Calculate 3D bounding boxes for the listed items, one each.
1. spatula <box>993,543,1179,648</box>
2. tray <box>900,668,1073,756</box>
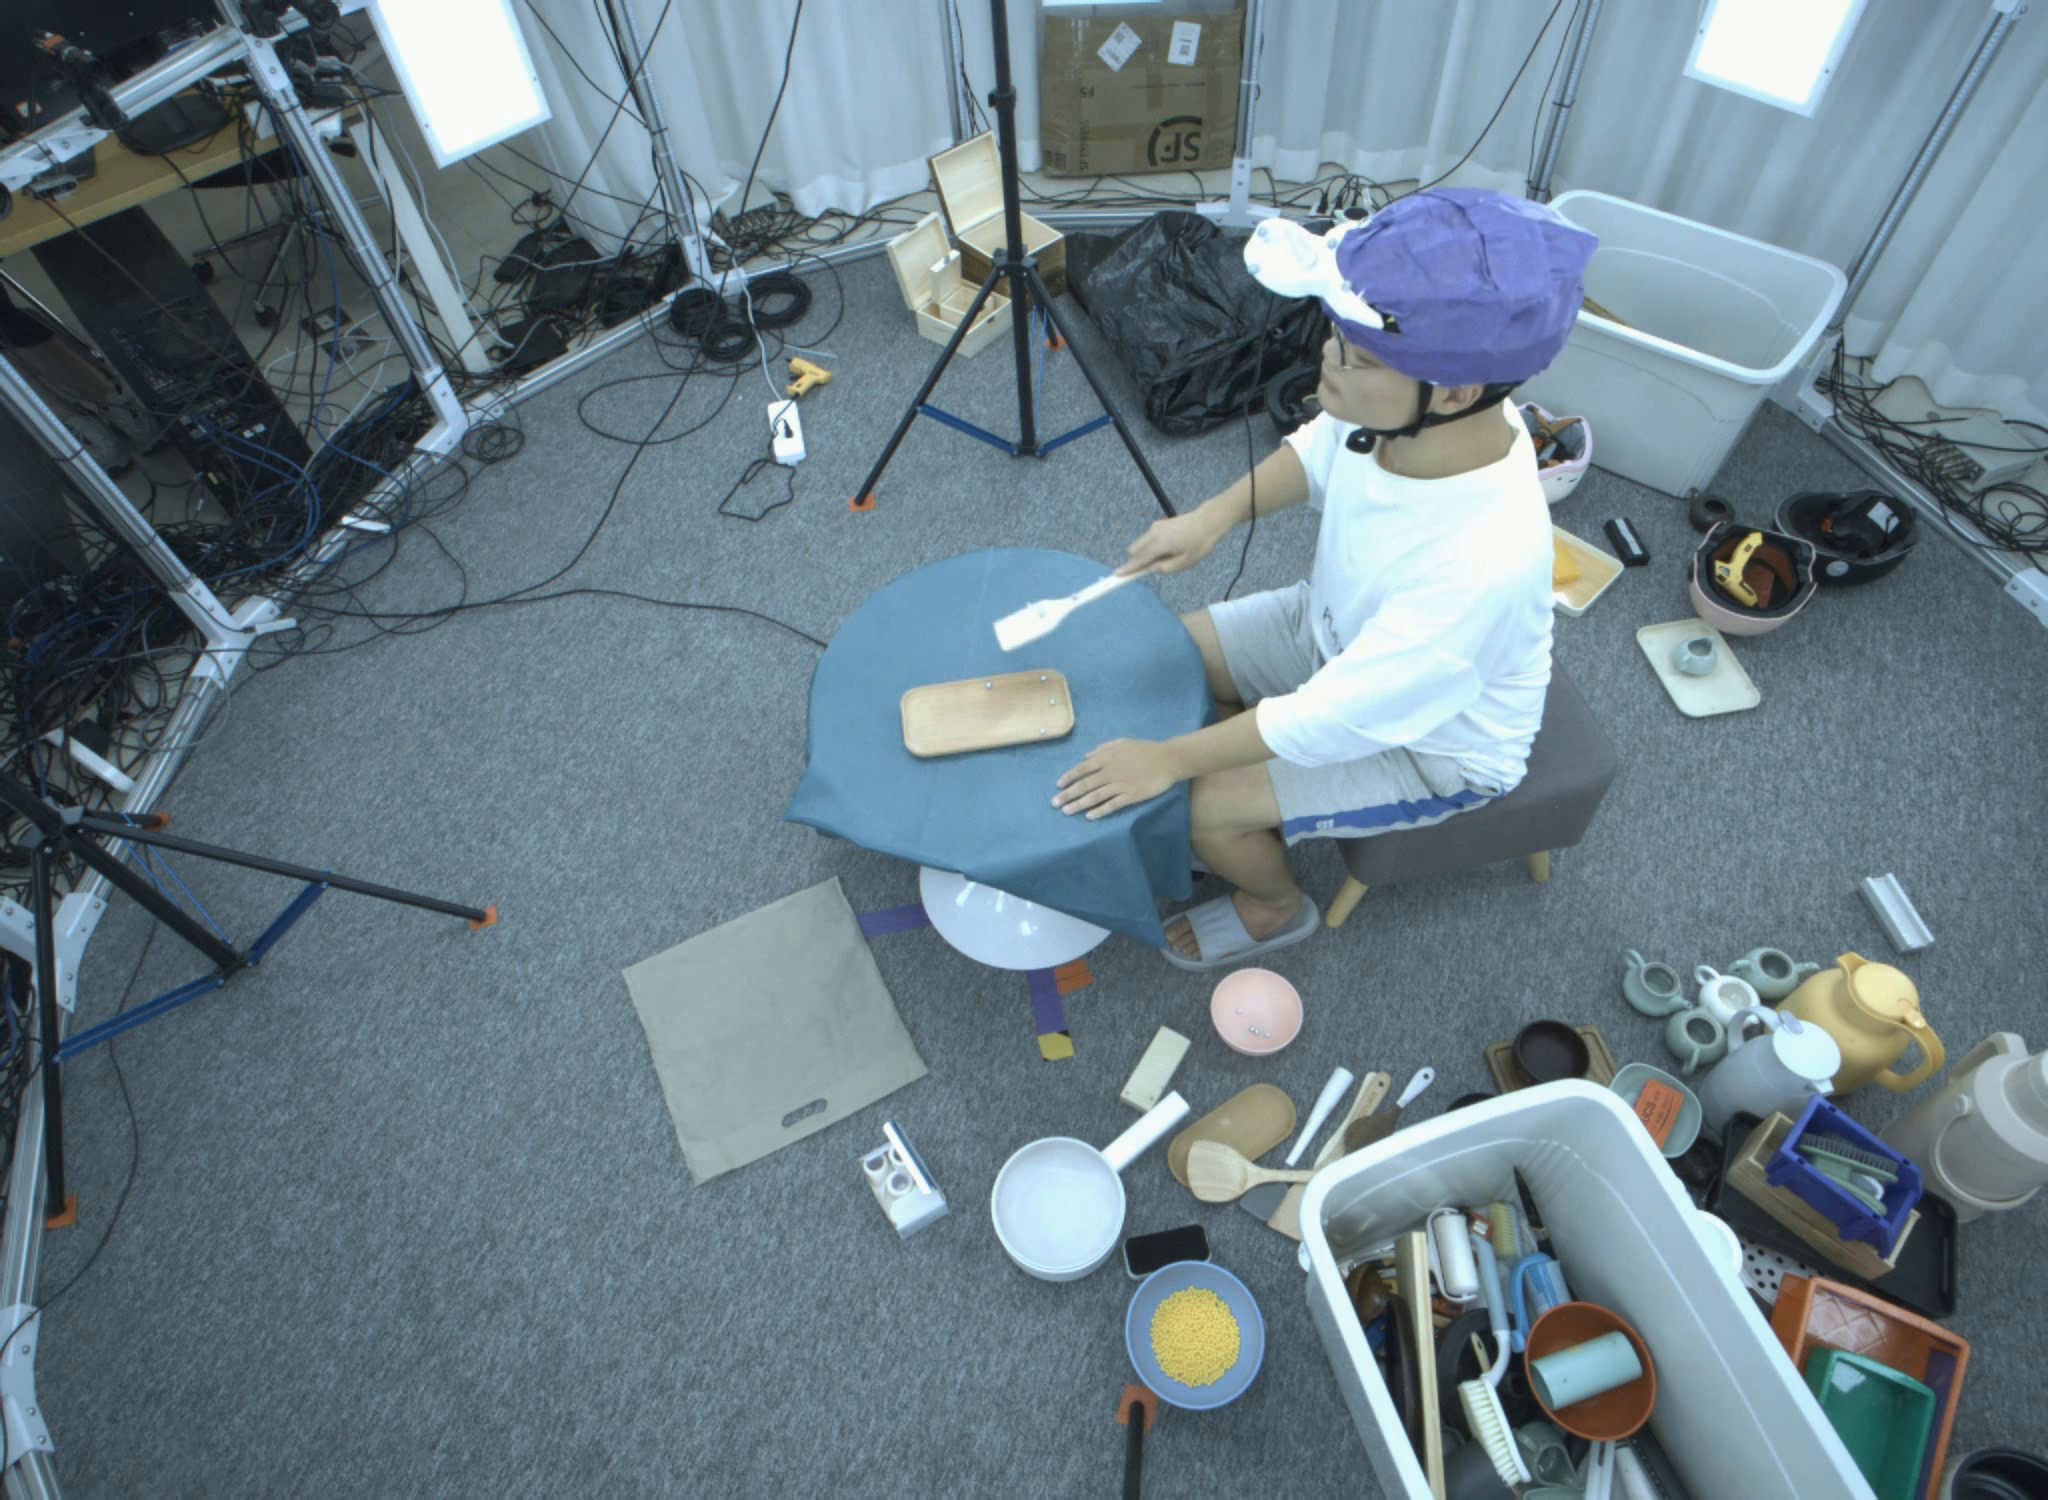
[{"bbox_3d":[0.091,-0.231,1.786,0.292,0.011,0.071,-26,44,5],"label":"spatula"},{"bbox_3d":[-0.056,-0.056,1.817,0.251,0.023,0.129,-8,52,-3],"label":"tray"}]
